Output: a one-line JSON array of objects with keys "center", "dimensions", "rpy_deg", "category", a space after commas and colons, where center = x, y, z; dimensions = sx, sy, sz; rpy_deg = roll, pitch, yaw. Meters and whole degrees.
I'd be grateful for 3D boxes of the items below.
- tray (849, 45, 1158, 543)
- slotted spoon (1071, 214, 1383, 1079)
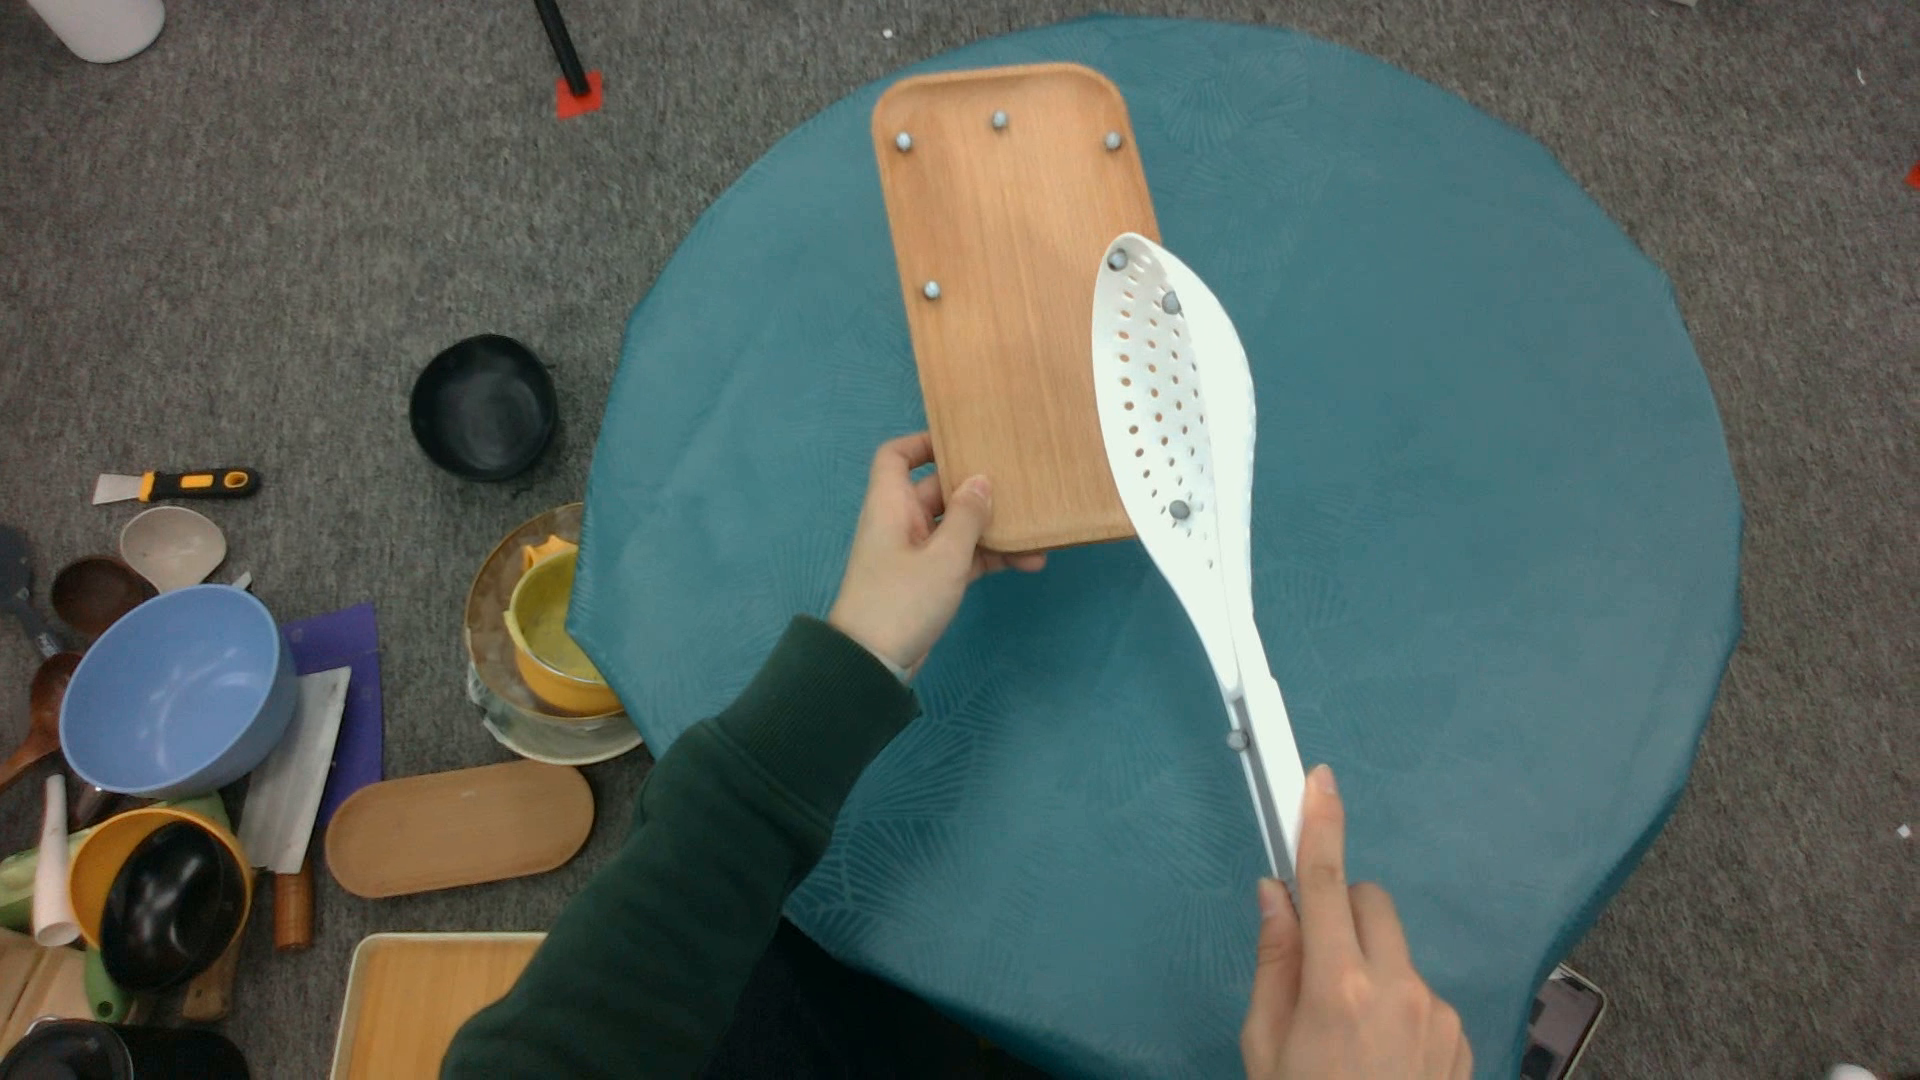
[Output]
[{"center": [0.028, -0.121, 0.645], "dimensions": [0.131, 0.023, 0.251], "rpy_deg": [-8, 74, -9], "category": "tray"}, {"center": [0.100, 0.036, 0.530], "dimensions": [0.046, 0.135, 0.350], "rpy_deg": [-7, 74, -9], "category": "slotted spoon"}]
